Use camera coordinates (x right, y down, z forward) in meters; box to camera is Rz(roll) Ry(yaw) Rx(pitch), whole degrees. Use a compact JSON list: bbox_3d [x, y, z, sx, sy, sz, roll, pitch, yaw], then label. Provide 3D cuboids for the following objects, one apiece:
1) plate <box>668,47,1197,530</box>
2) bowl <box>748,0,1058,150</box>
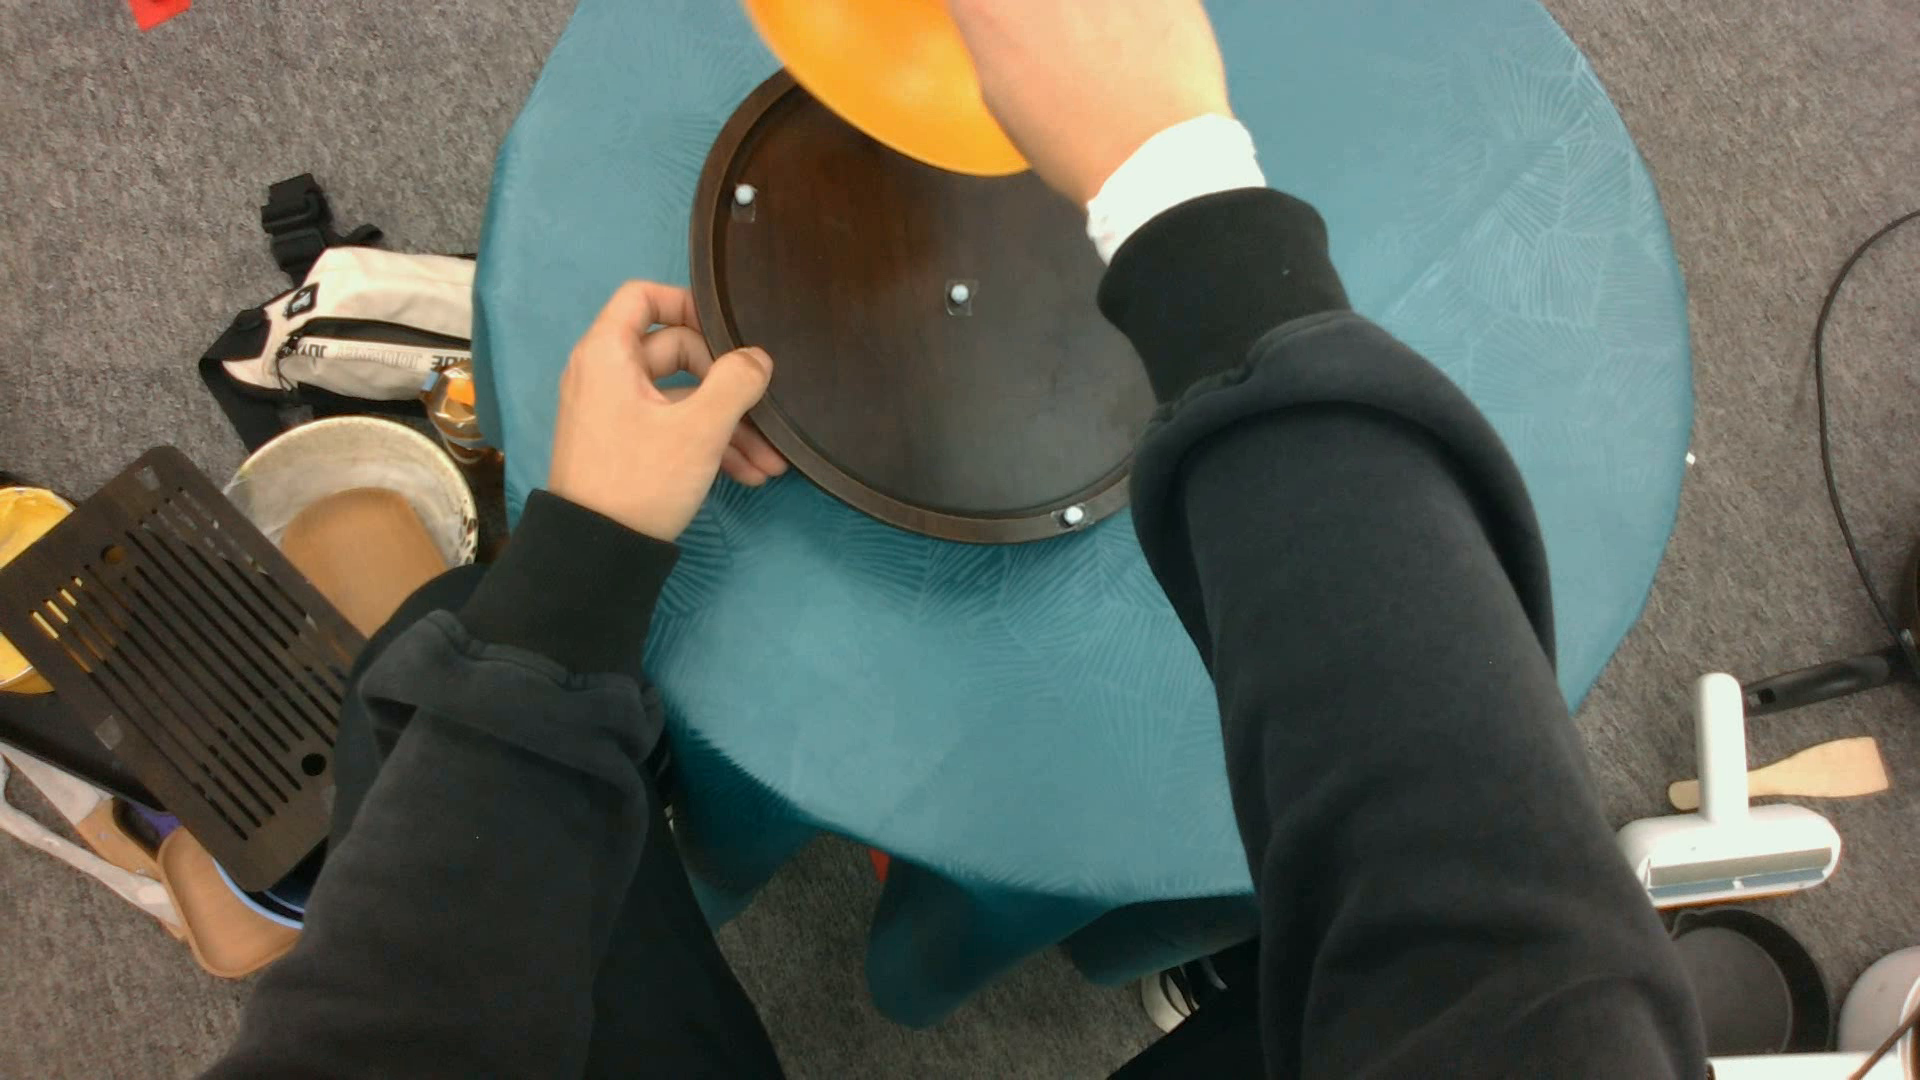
[{"bbox_3d":[-0.007,-0.124,0.632,0.255,0.029,0.255,6,72,-20],"label":"plate"},{"bbox_3d":[-0.017,-0.232,0.571,0.145,0.145,0.060,26,74,1],"label":"bowl"}]
